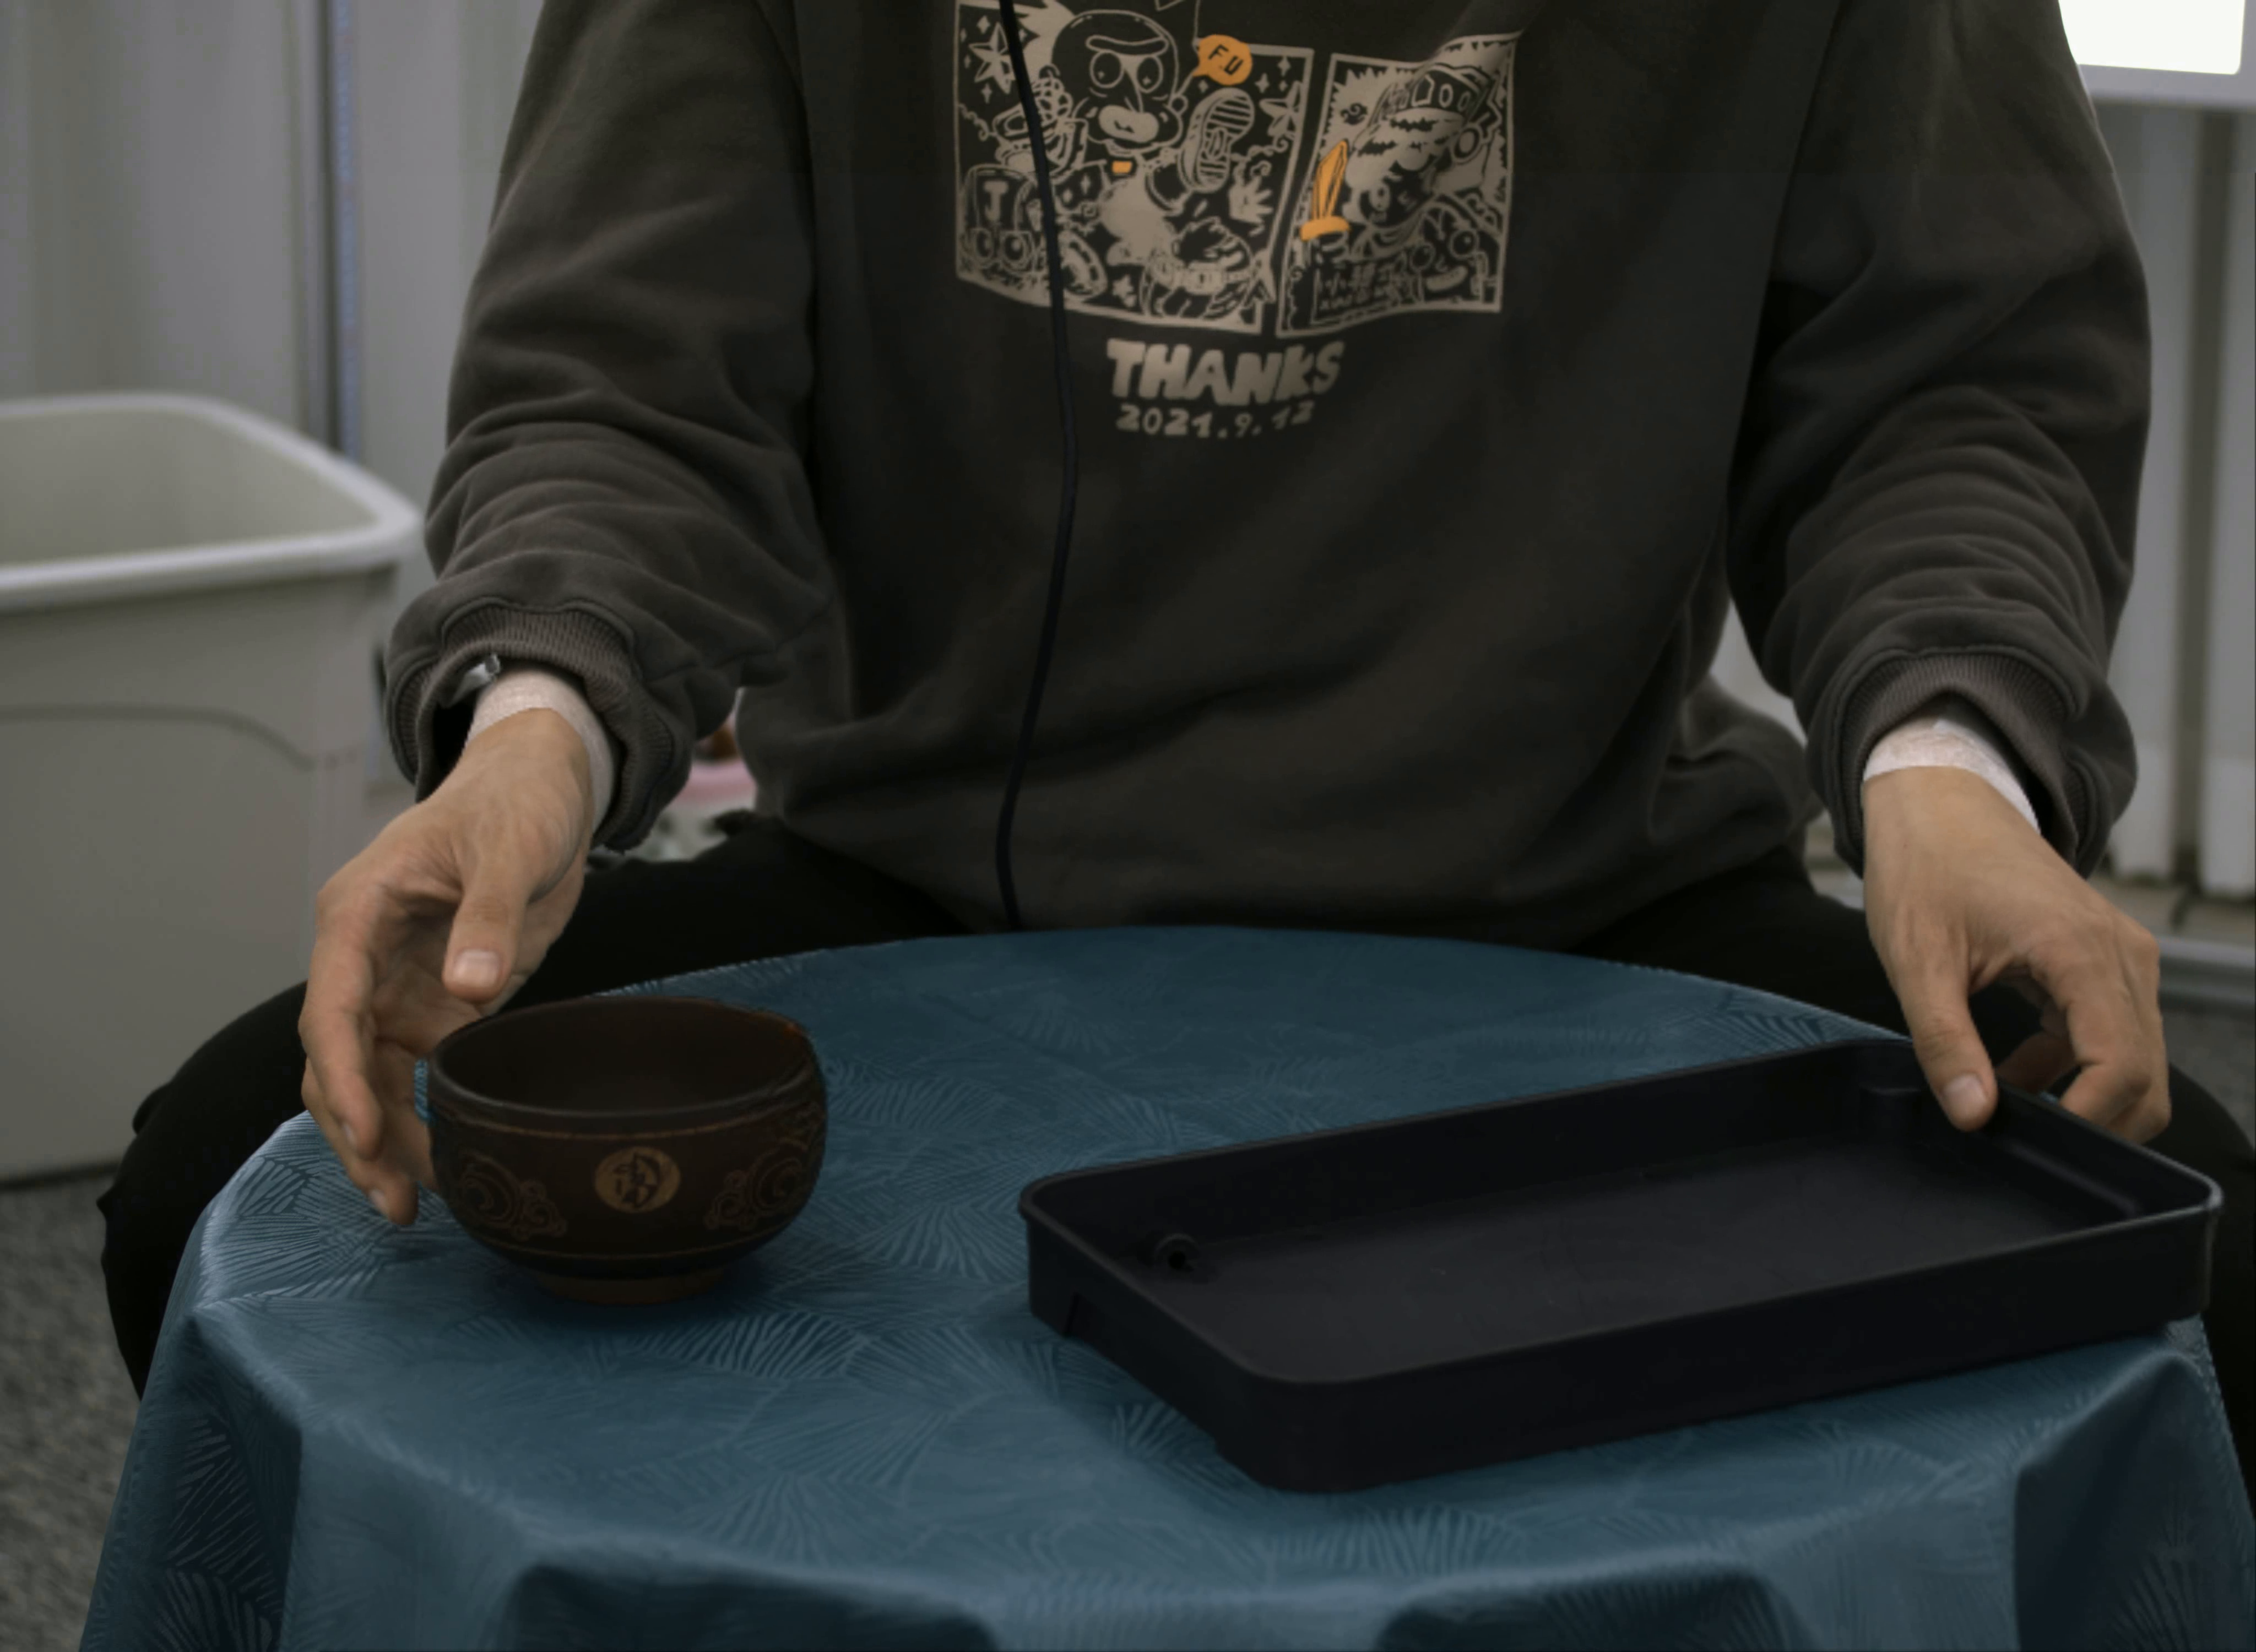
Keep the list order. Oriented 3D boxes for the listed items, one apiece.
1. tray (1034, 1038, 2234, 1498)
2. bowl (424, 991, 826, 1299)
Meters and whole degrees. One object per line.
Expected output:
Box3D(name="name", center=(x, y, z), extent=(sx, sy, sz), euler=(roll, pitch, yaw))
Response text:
Box3D(name="tray", center=(0.147, 0.123, 1.531), extent=(0.319, 0.037, 0.182), euler=(-9, 17, -27))
Box3D(name="bowl", center=(-0.147, 0.097, 1.546), extent=(0.117, 0.070, 0.117), euler=(0, 14, 1))
